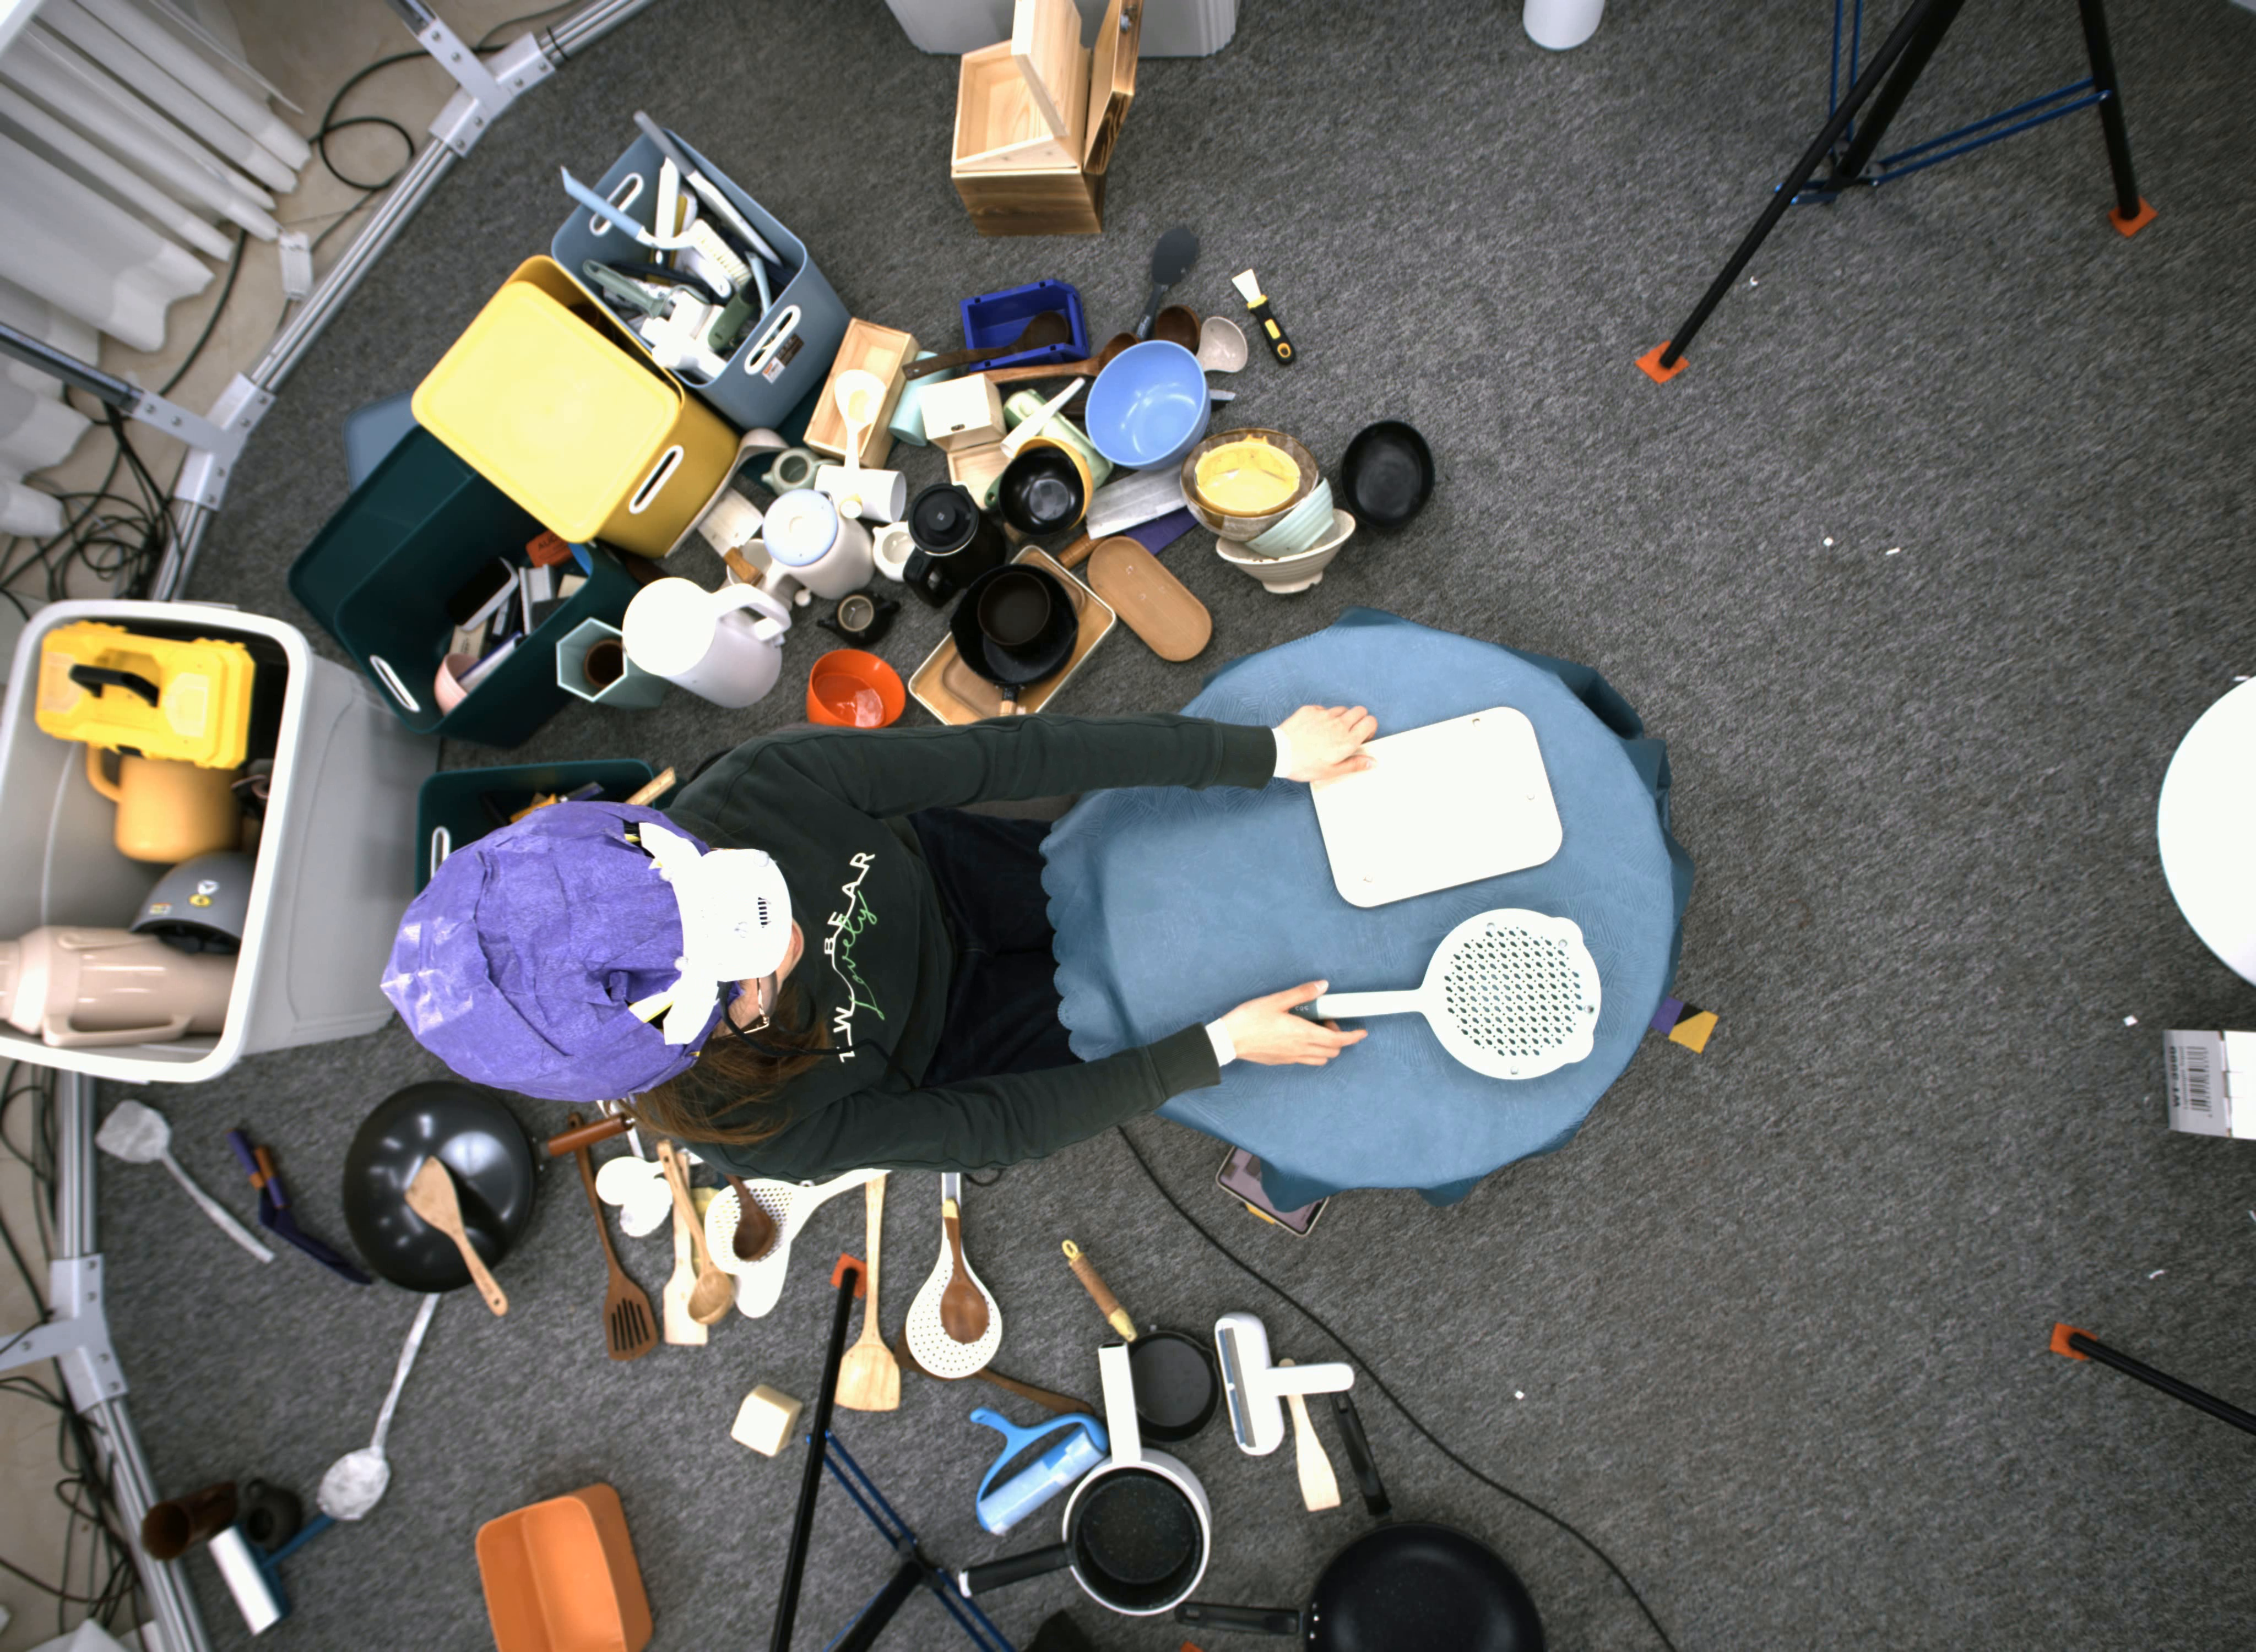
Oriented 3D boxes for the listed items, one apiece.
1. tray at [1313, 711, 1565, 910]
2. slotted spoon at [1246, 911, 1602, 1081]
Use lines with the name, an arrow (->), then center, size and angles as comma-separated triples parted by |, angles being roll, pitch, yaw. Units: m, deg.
tray -> 0.327, -0.017, 1.452 | 0.241, 0.017, 0.170 | -15, 83, 10
slotted spoon -> 0.297, 0.179, 1.421 | 0.360, 0.075, 0.168 | -5, 84, 10
